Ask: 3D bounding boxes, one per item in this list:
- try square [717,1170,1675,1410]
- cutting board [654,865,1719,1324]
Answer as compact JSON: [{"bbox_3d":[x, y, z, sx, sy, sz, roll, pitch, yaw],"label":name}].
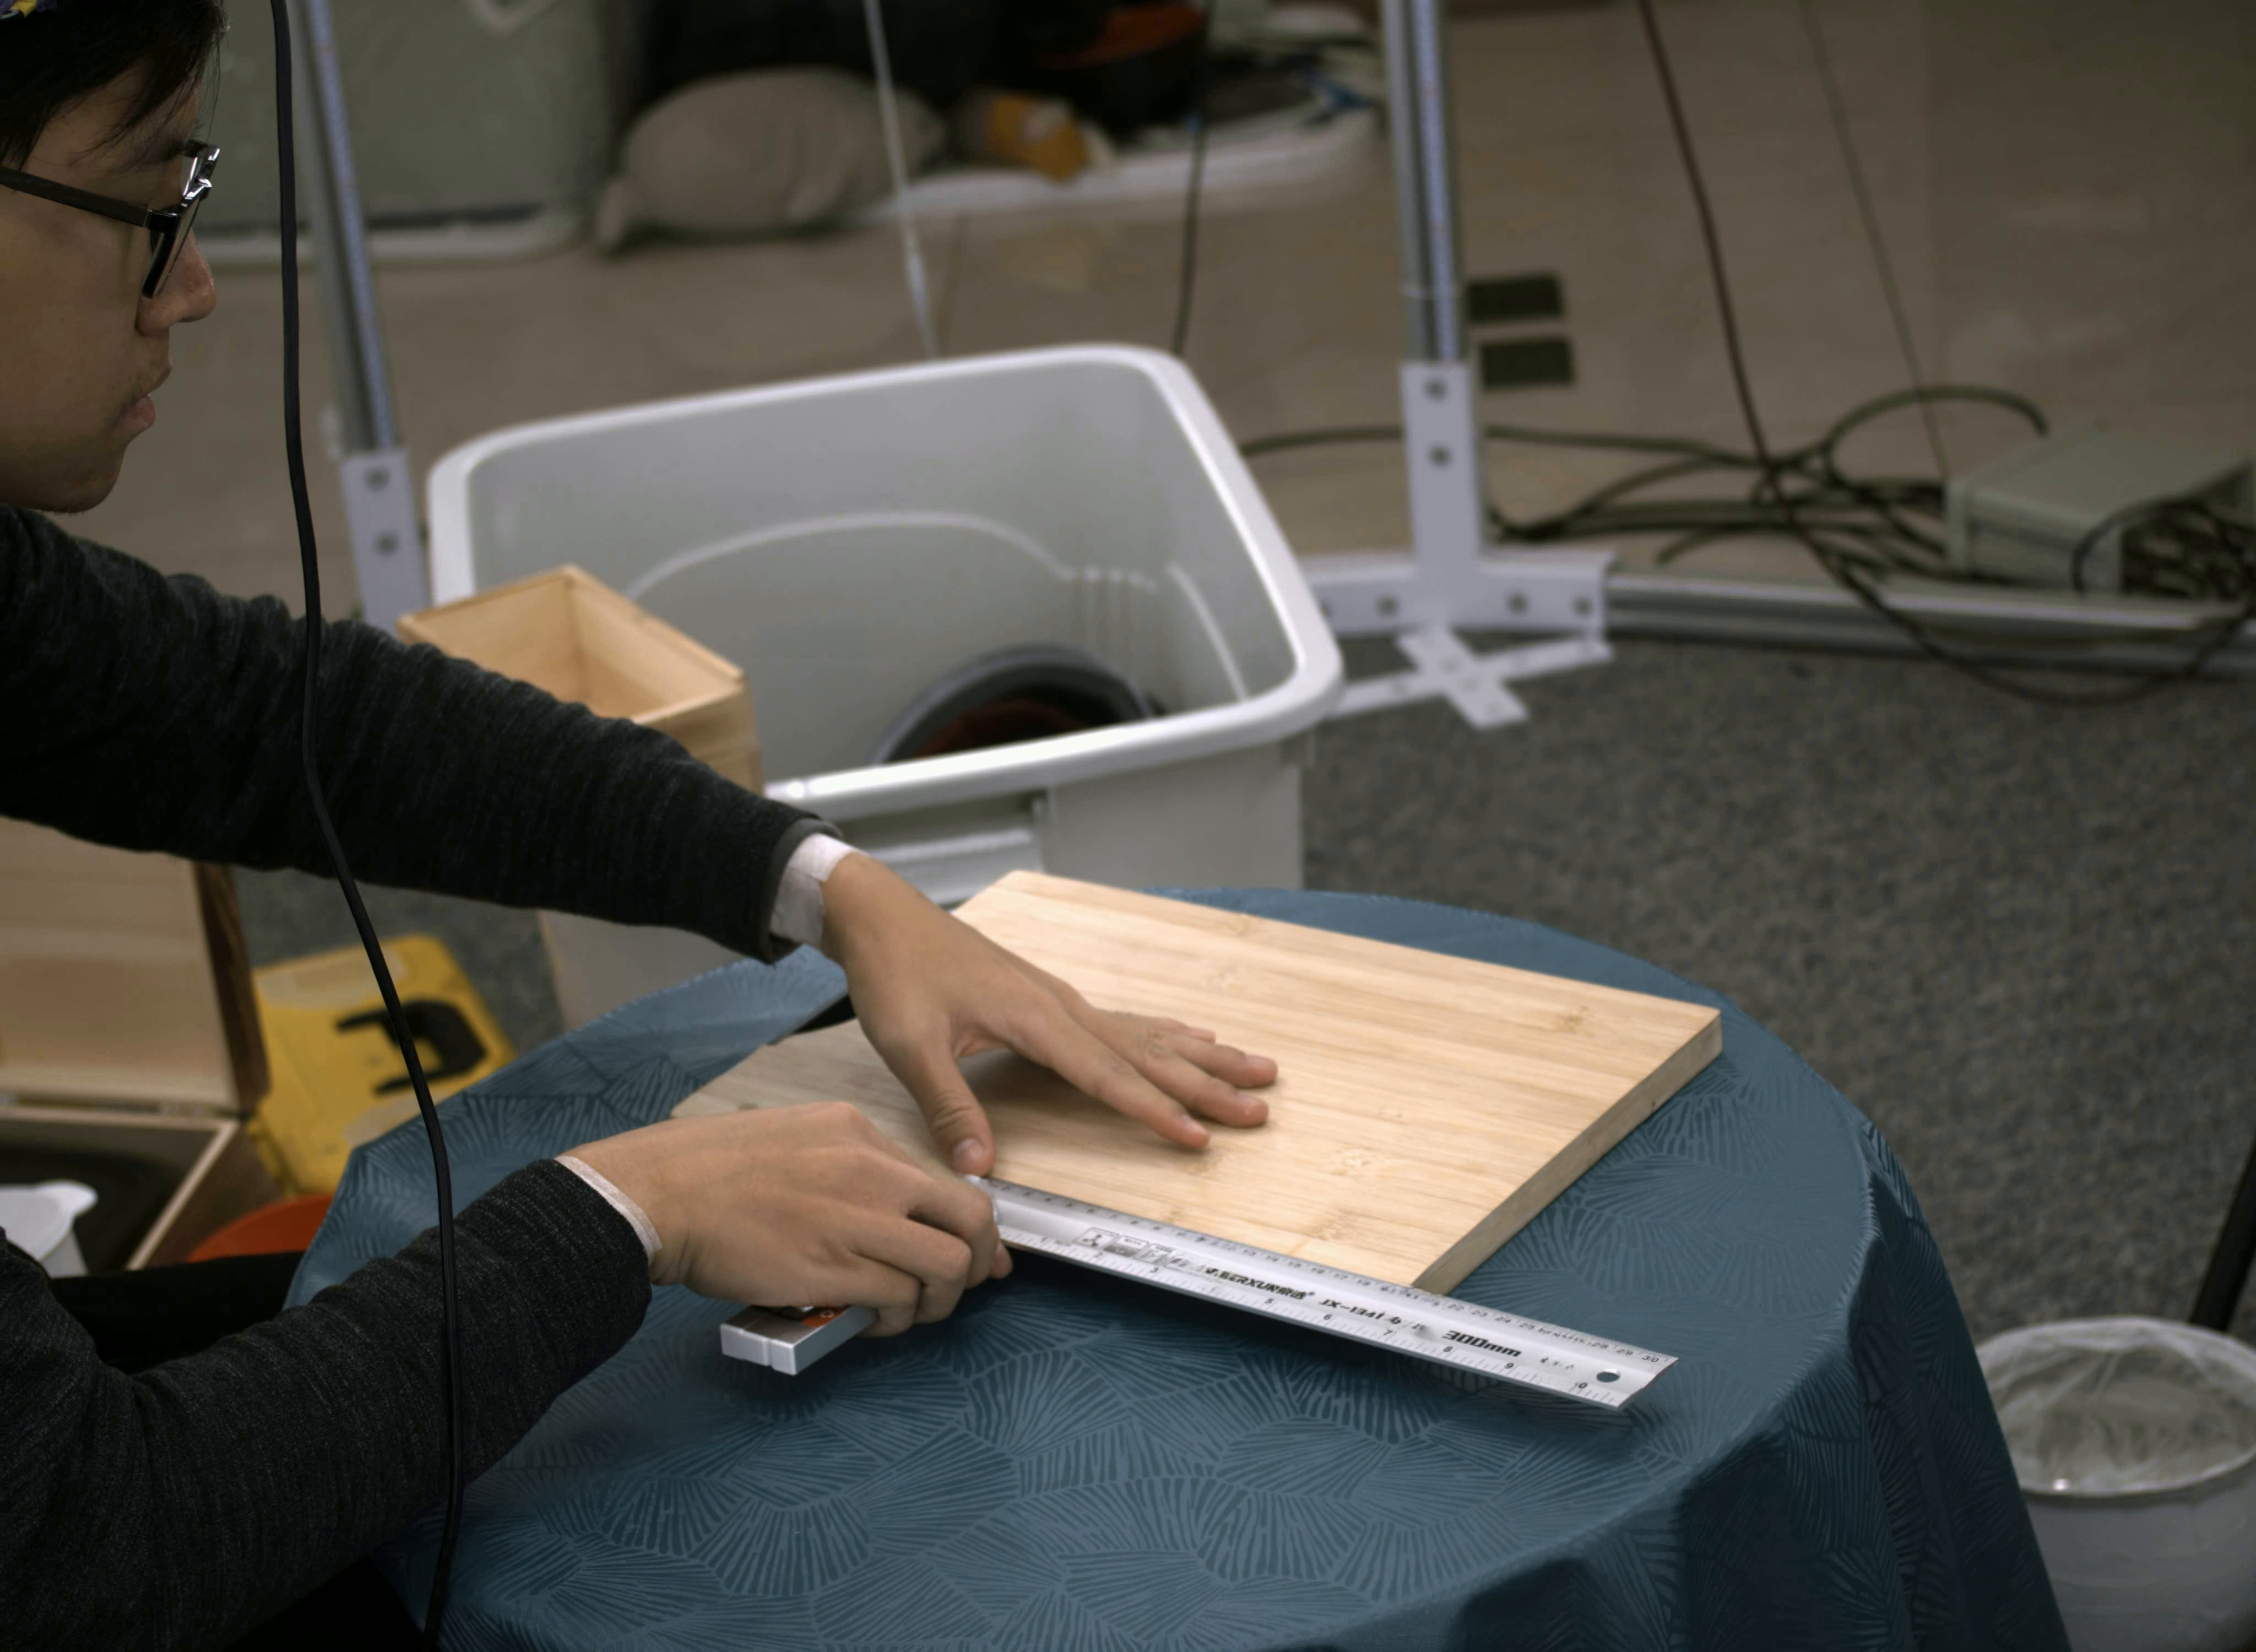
[{"bbox_3d":[0.020,0.185,1.998,0.311,0.016,0.151,12,30,35],"label":"try square"},{"bbox_3d":[0.022,0.099,2.209,0.347,0.024,0.248,11,29,32],"label":"cutting board"}]
